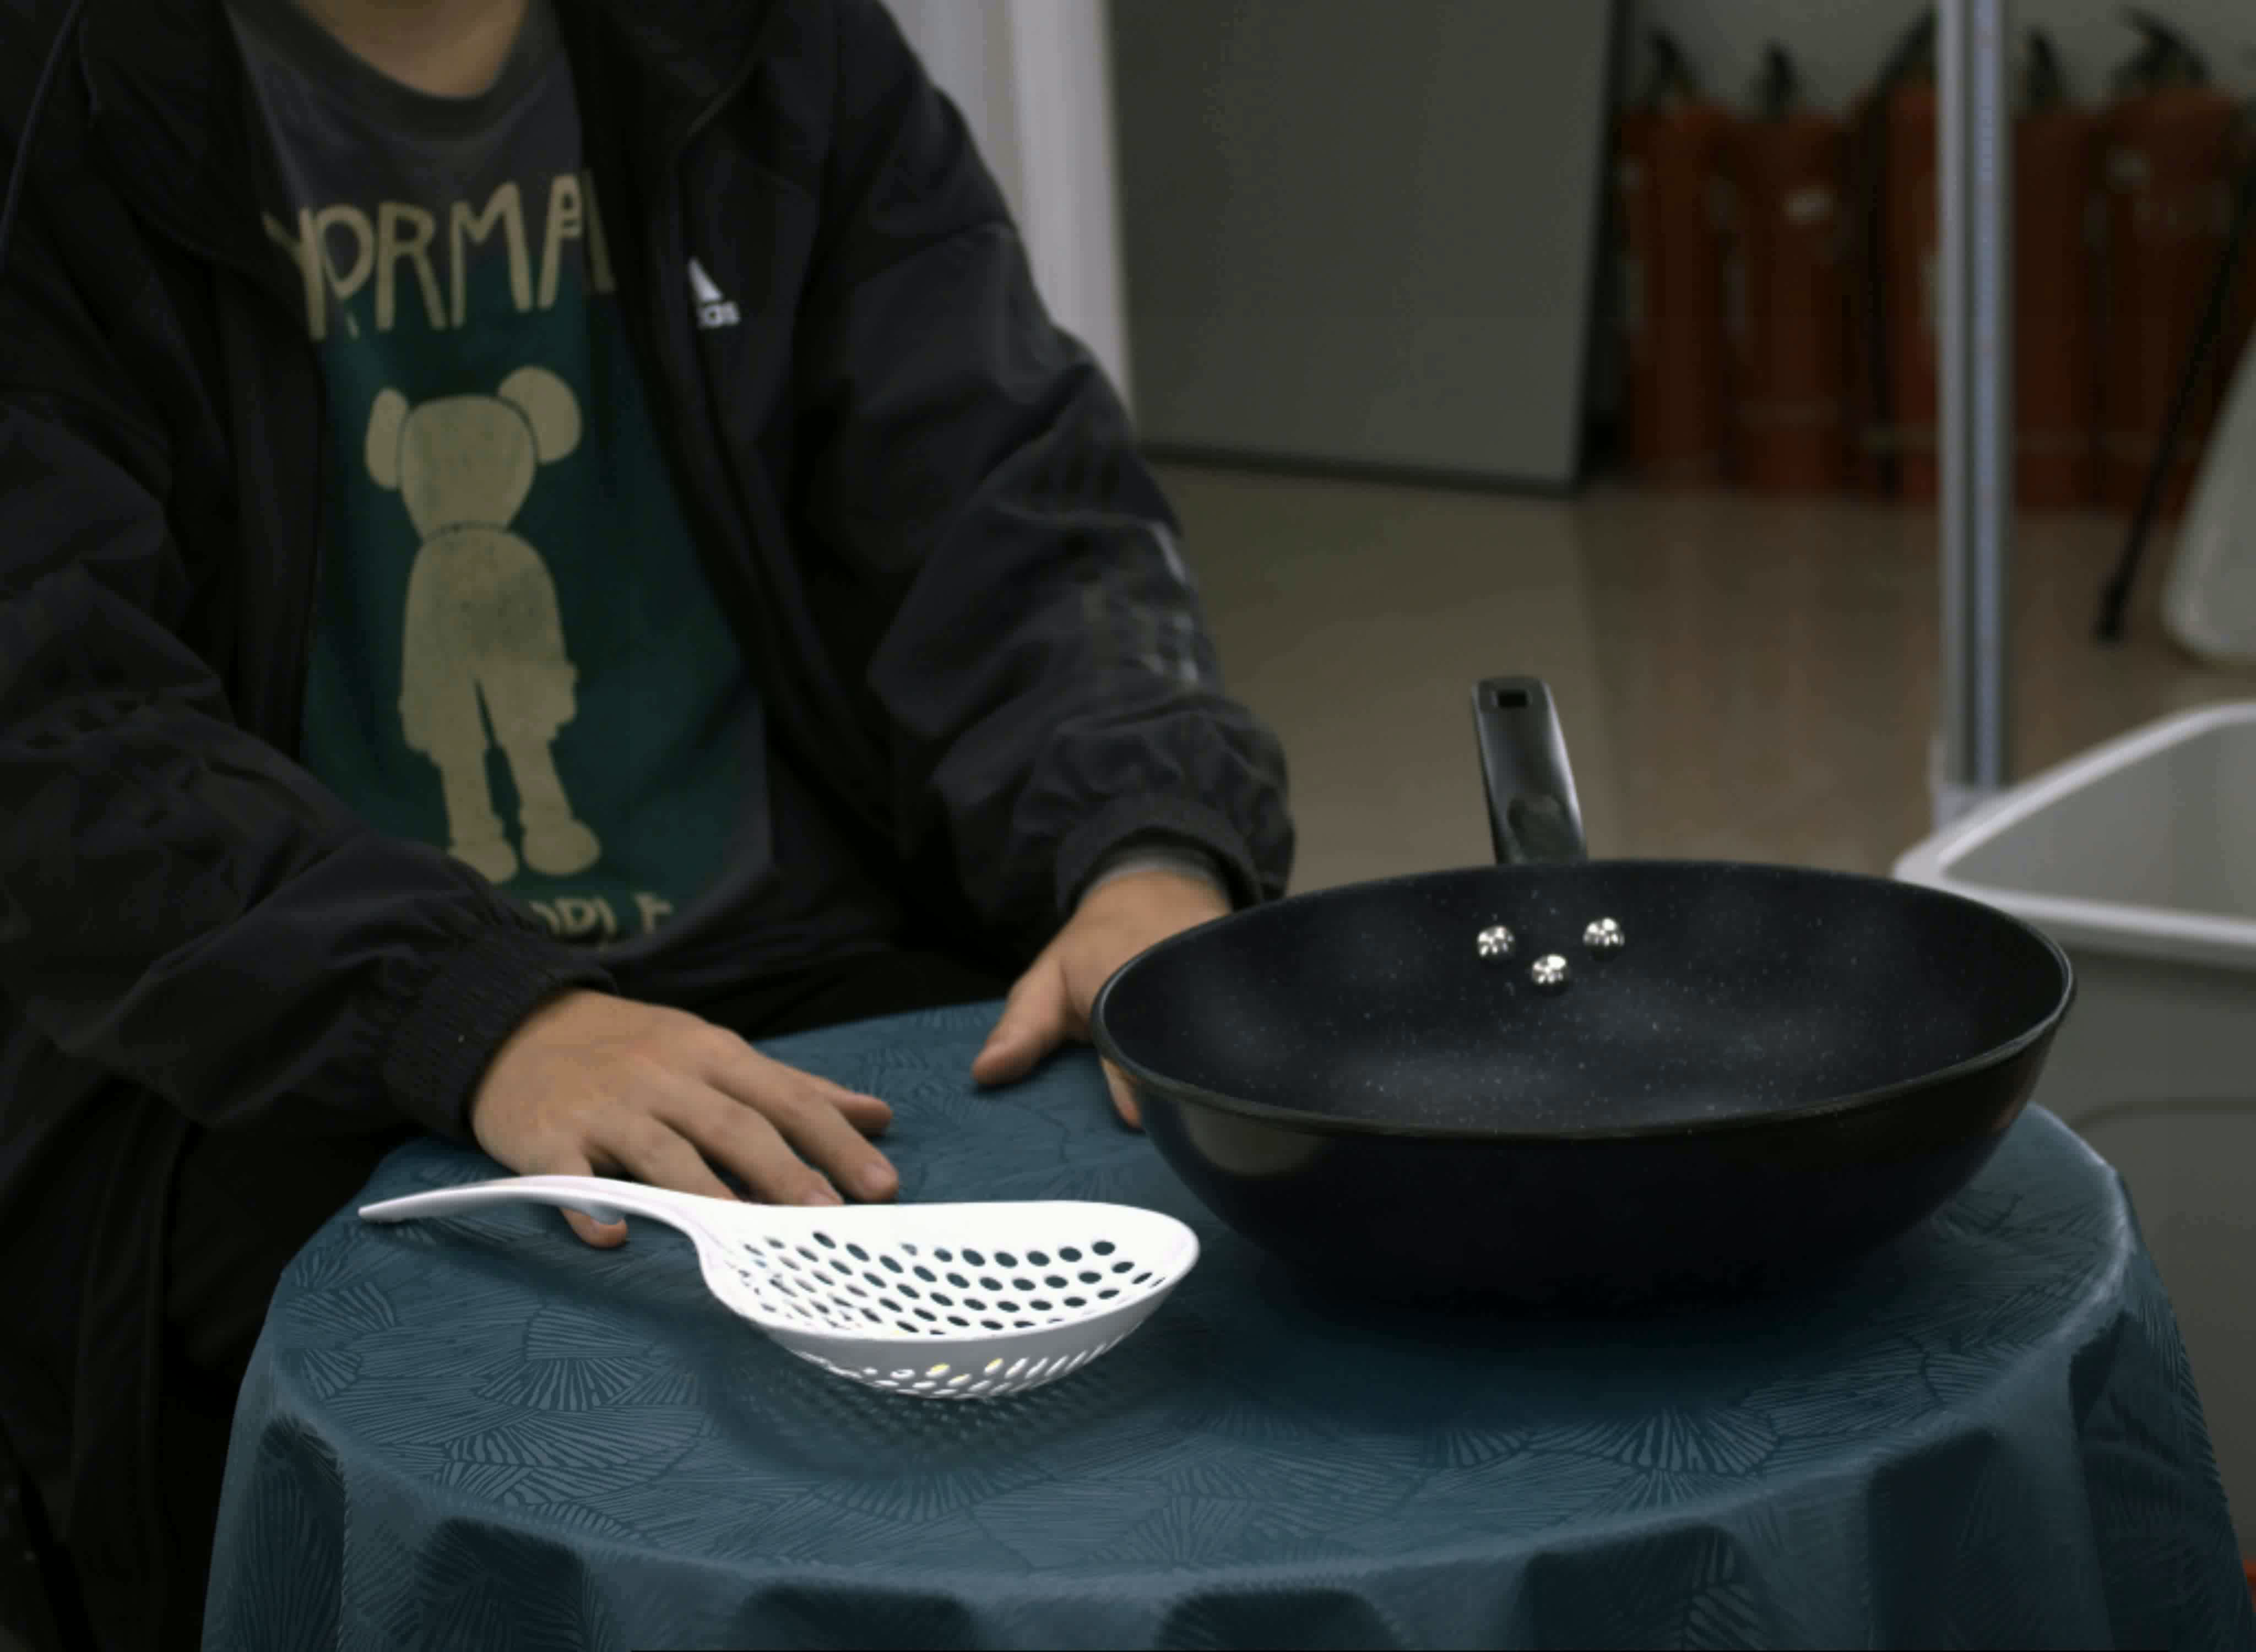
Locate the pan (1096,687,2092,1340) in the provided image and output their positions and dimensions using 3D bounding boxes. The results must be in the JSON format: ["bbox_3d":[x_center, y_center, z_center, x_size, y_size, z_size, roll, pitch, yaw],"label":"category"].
[{"bbox_3d":[0.144,0.061,1.755,0.306,0.113,0.477,-3,14,1],"label":"pan"}]

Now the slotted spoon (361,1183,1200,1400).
[{"bbox_3d":[-0.123,0.134,1.673,0.351,0.051,0.134,9,21,44],"label":"slotted spoon"}]
